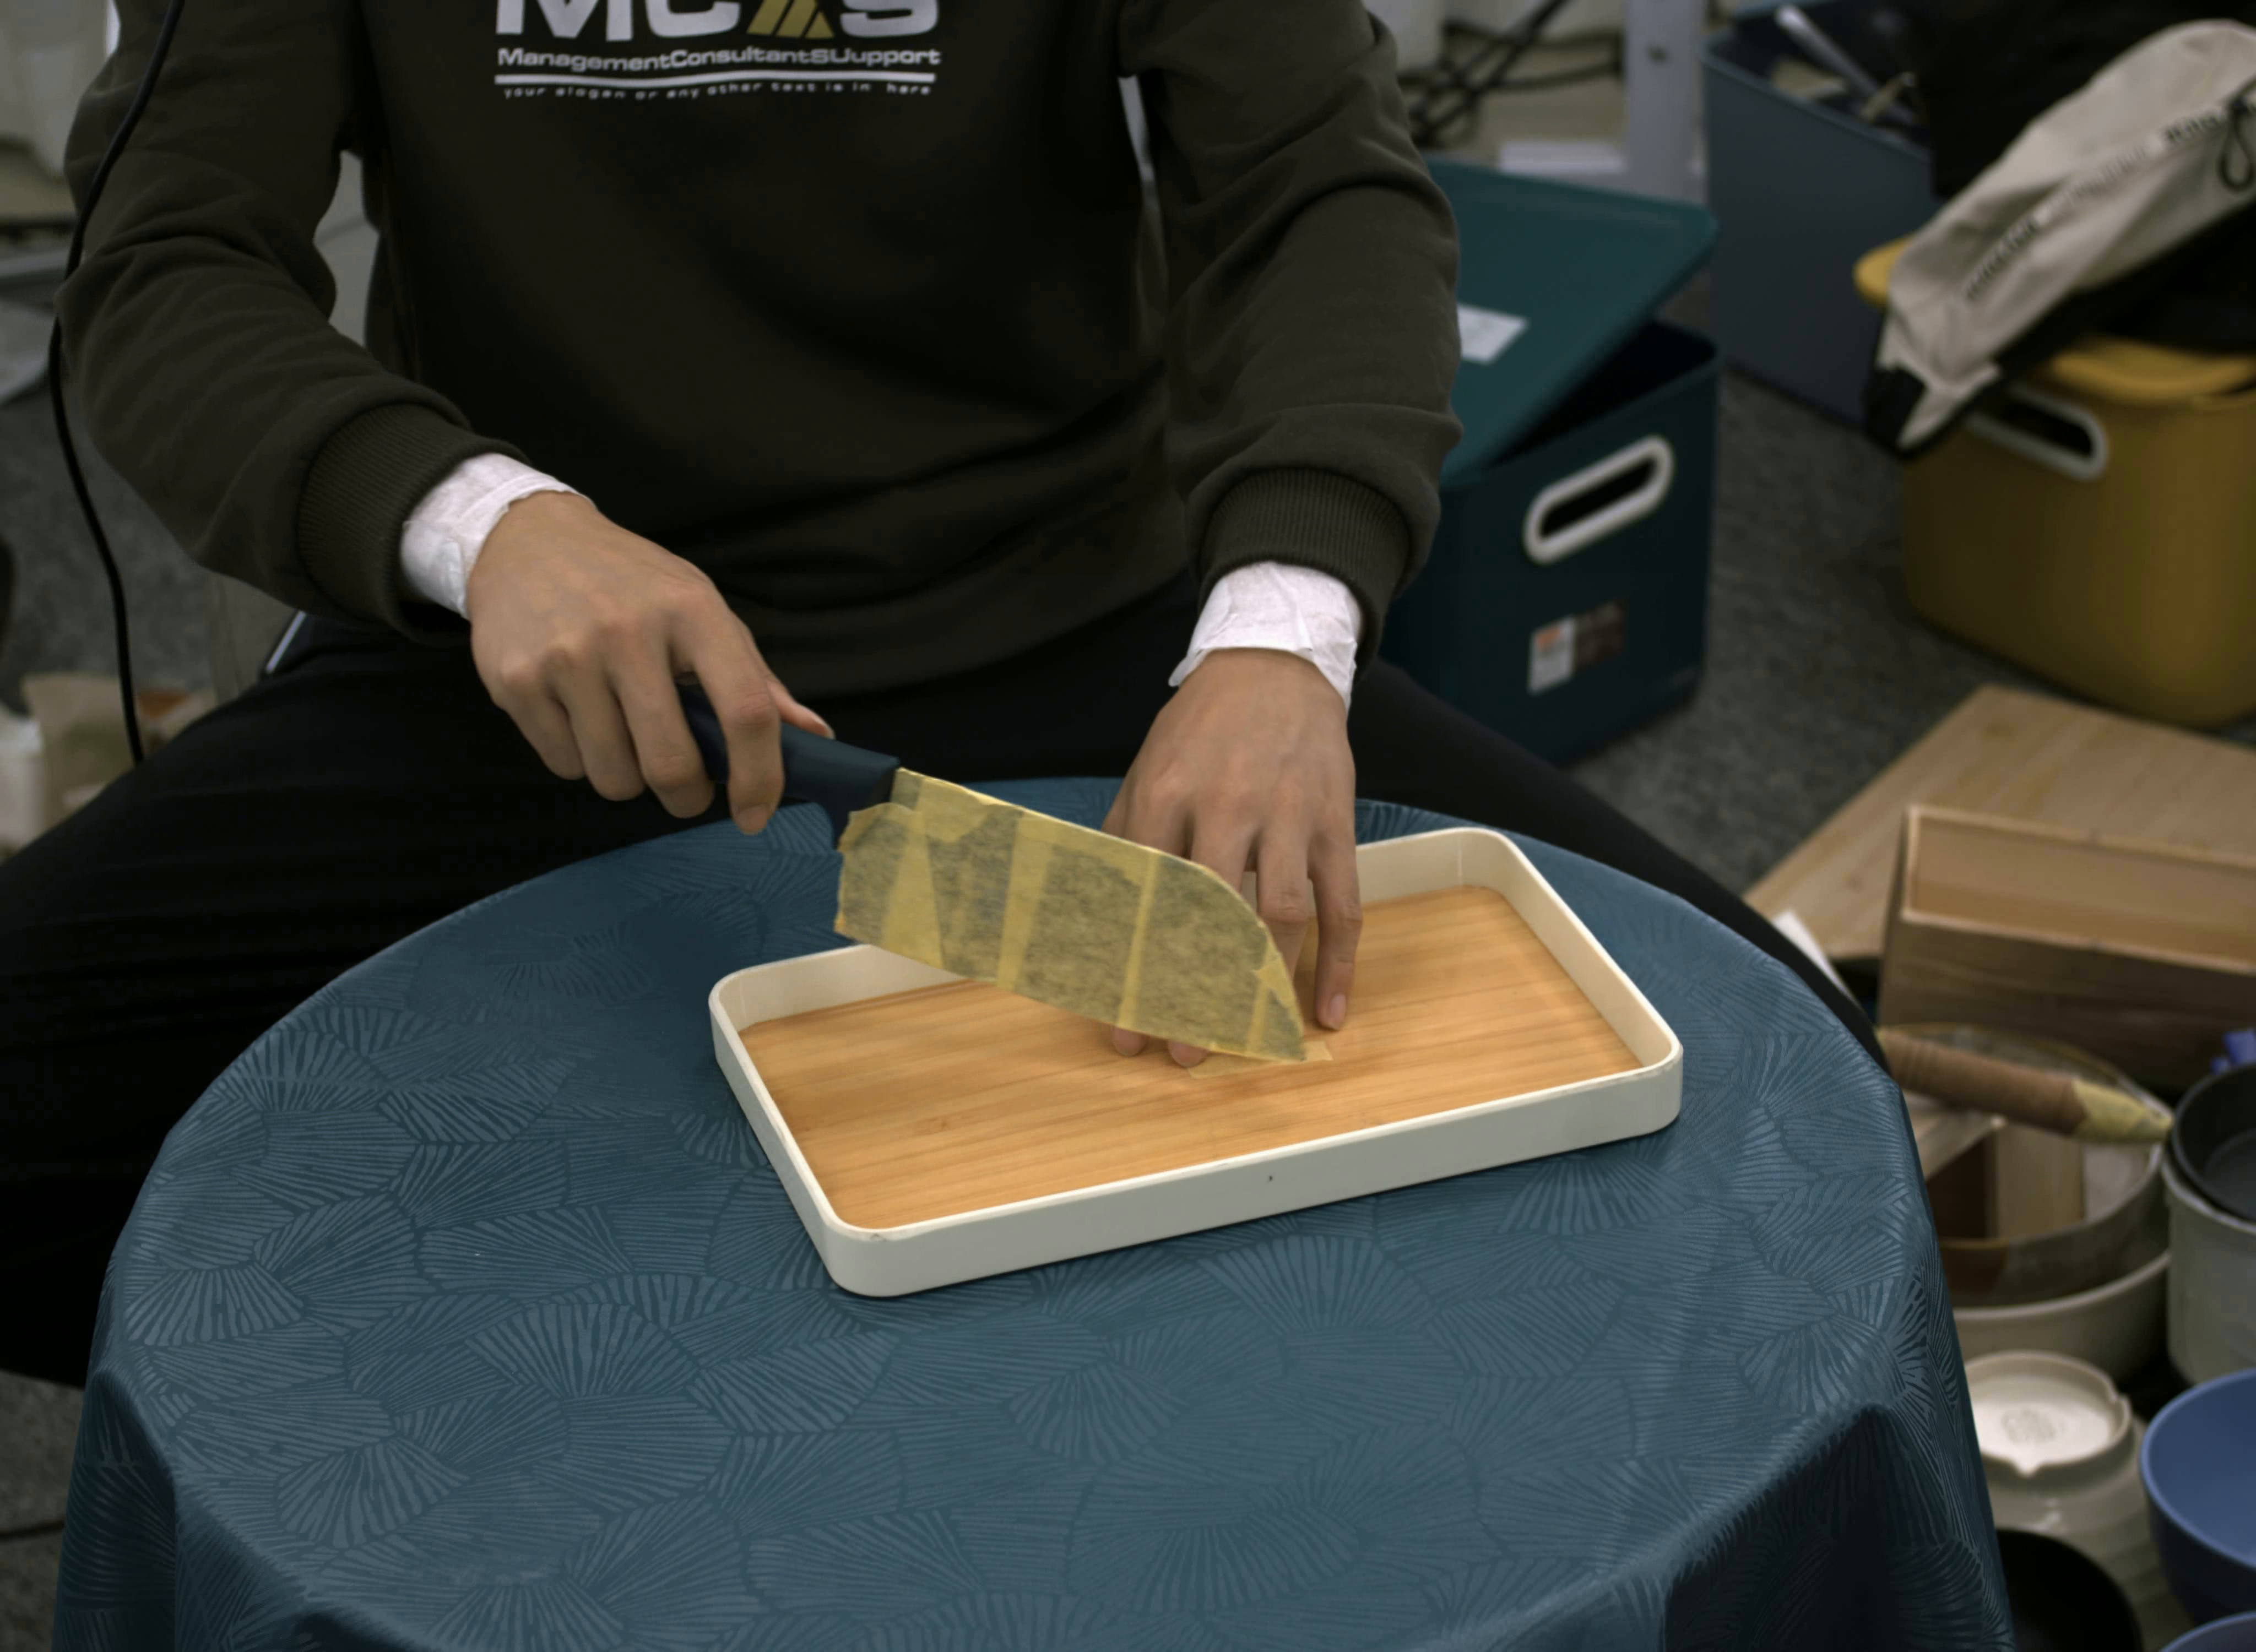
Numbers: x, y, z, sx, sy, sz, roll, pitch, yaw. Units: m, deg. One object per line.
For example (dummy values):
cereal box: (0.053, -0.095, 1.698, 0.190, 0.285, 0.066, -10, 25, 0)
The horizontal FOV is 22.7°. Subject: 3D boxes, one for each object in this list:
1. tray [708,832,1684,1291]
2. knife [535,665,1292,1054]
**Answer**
tray: (0.021, 0.077, 1.918, 0.300, 0.027, 0.193, -10, 27, -15)
knife: (-0.074, 0.011, 1.911, 0.288, 0.080, 0.027, 22, 28, 14)
